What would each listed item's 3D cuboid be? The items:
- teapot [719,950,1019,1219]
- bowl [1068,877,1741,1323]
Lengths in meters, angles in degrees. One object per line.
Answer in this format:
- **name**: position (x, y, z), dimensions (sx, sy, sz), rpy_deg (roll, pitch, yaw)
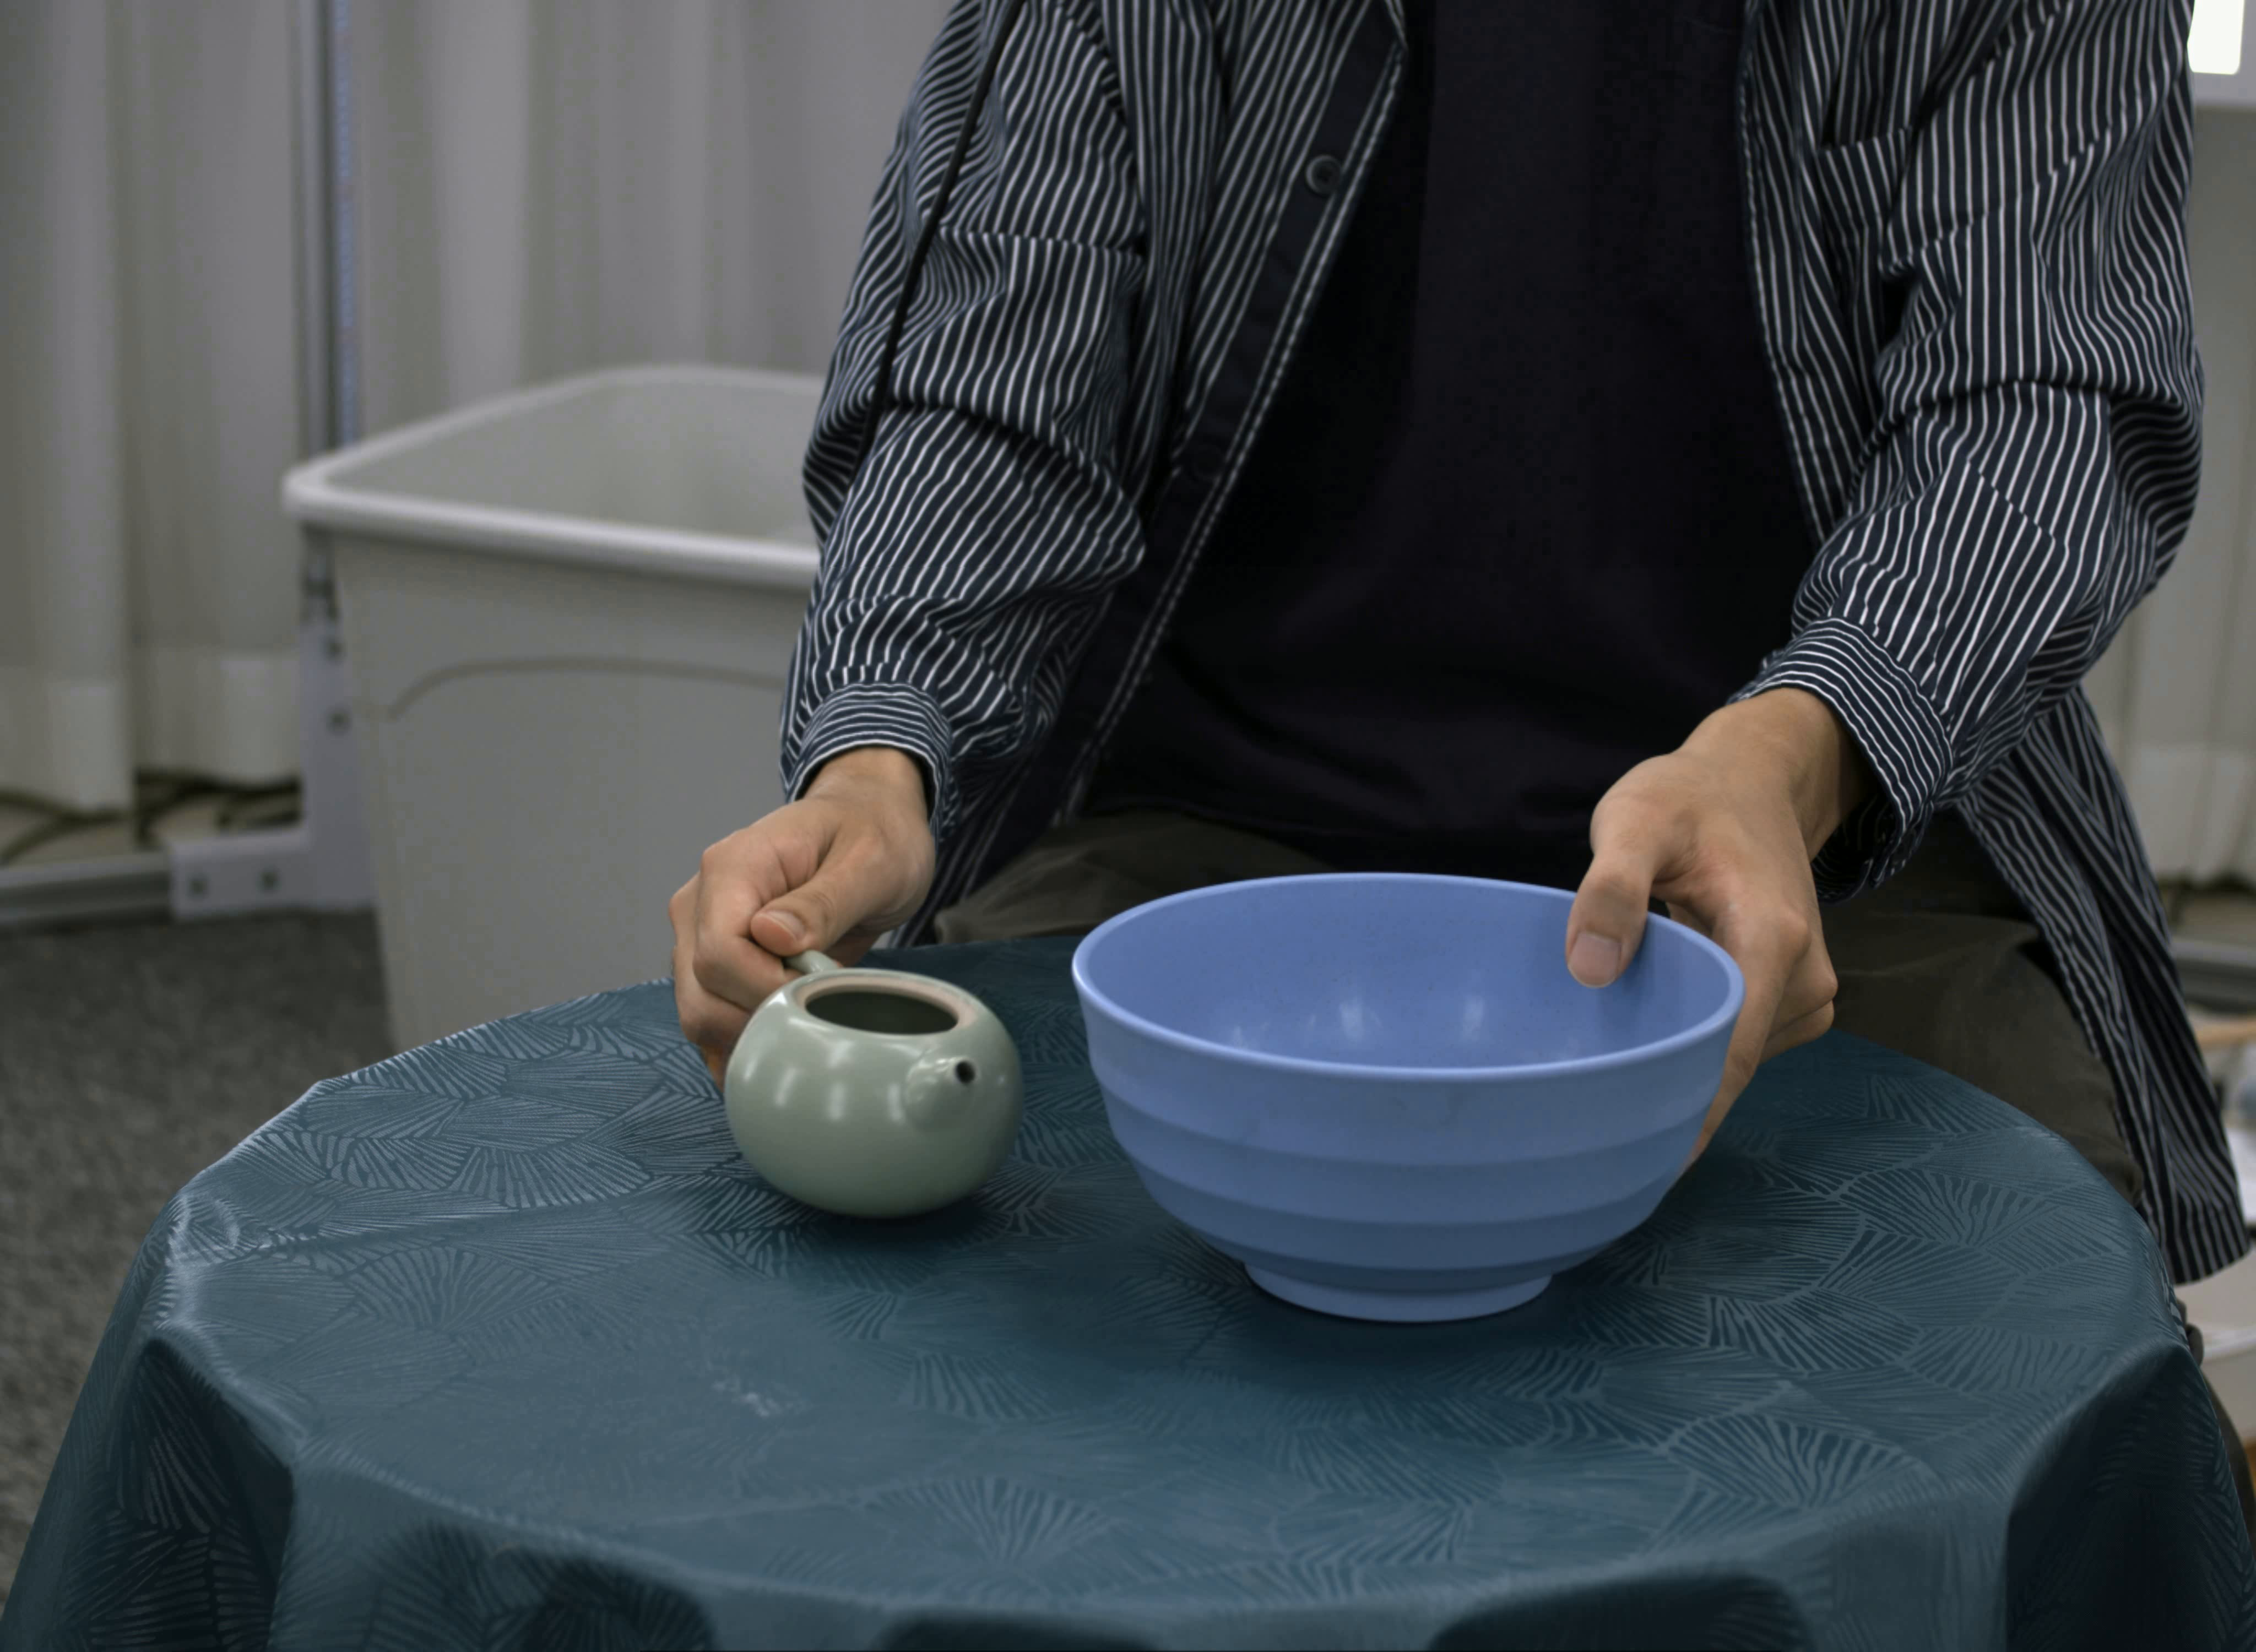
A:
- **teapot**: position (-0.083, 0.079, 1.608), dimensions (0.092, 0.061, 0.127), rpy_deg (-3, 19, -26)
- **bowl**: position (0.080, 0.086, 1.547), dimensions (0.196, 0.096, 0.195), rpy_deg (1, 16, 0)
